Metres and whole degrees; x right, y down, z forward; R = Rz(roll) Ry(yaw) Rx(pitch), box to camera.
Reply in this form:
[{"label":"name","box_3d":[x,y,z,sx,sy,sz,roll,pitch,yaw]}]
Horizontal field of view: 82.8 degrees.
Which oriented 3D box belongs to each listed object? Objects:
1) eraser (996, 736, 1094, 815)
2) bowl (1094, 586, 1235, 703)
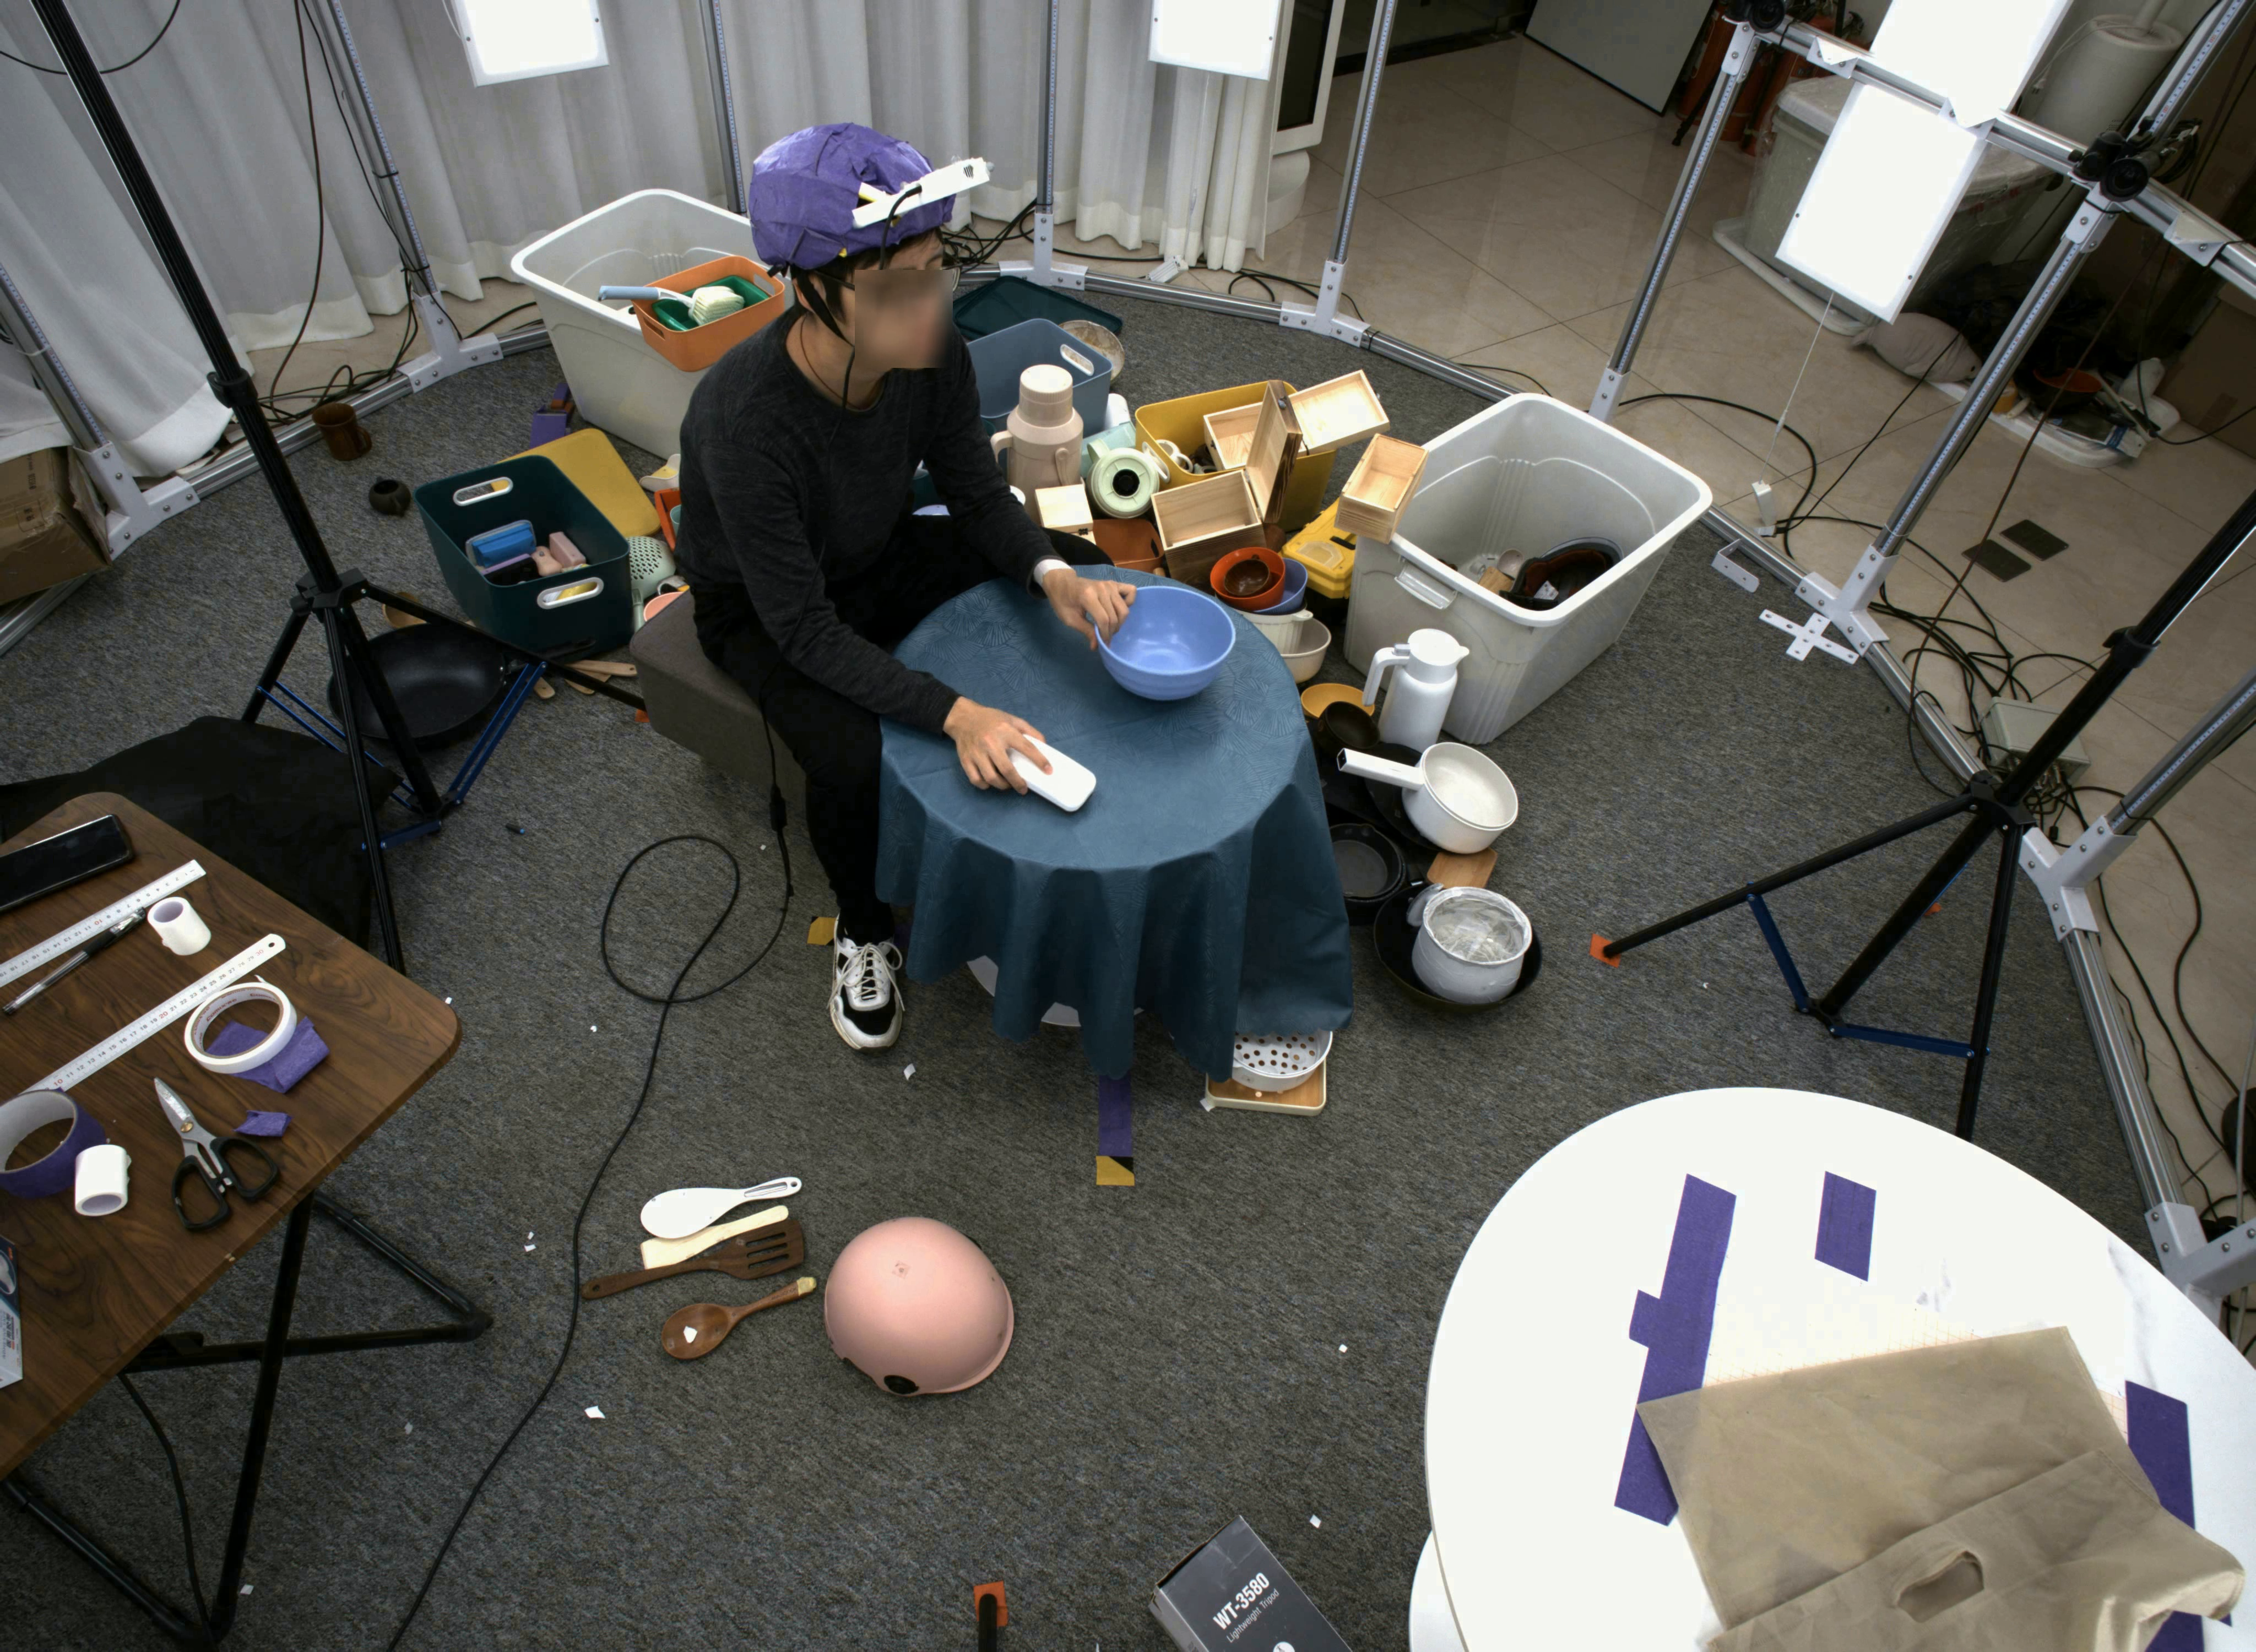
[{"label":"eraser","box_3d":[-0.109,-0.069,1.695,0.132,0.034,0.064,33,58,15]},{"label":"bowl","box_3d":[0.048,-0.242,1.821,0.196,0.093,0.201,2,47,-3]}]
